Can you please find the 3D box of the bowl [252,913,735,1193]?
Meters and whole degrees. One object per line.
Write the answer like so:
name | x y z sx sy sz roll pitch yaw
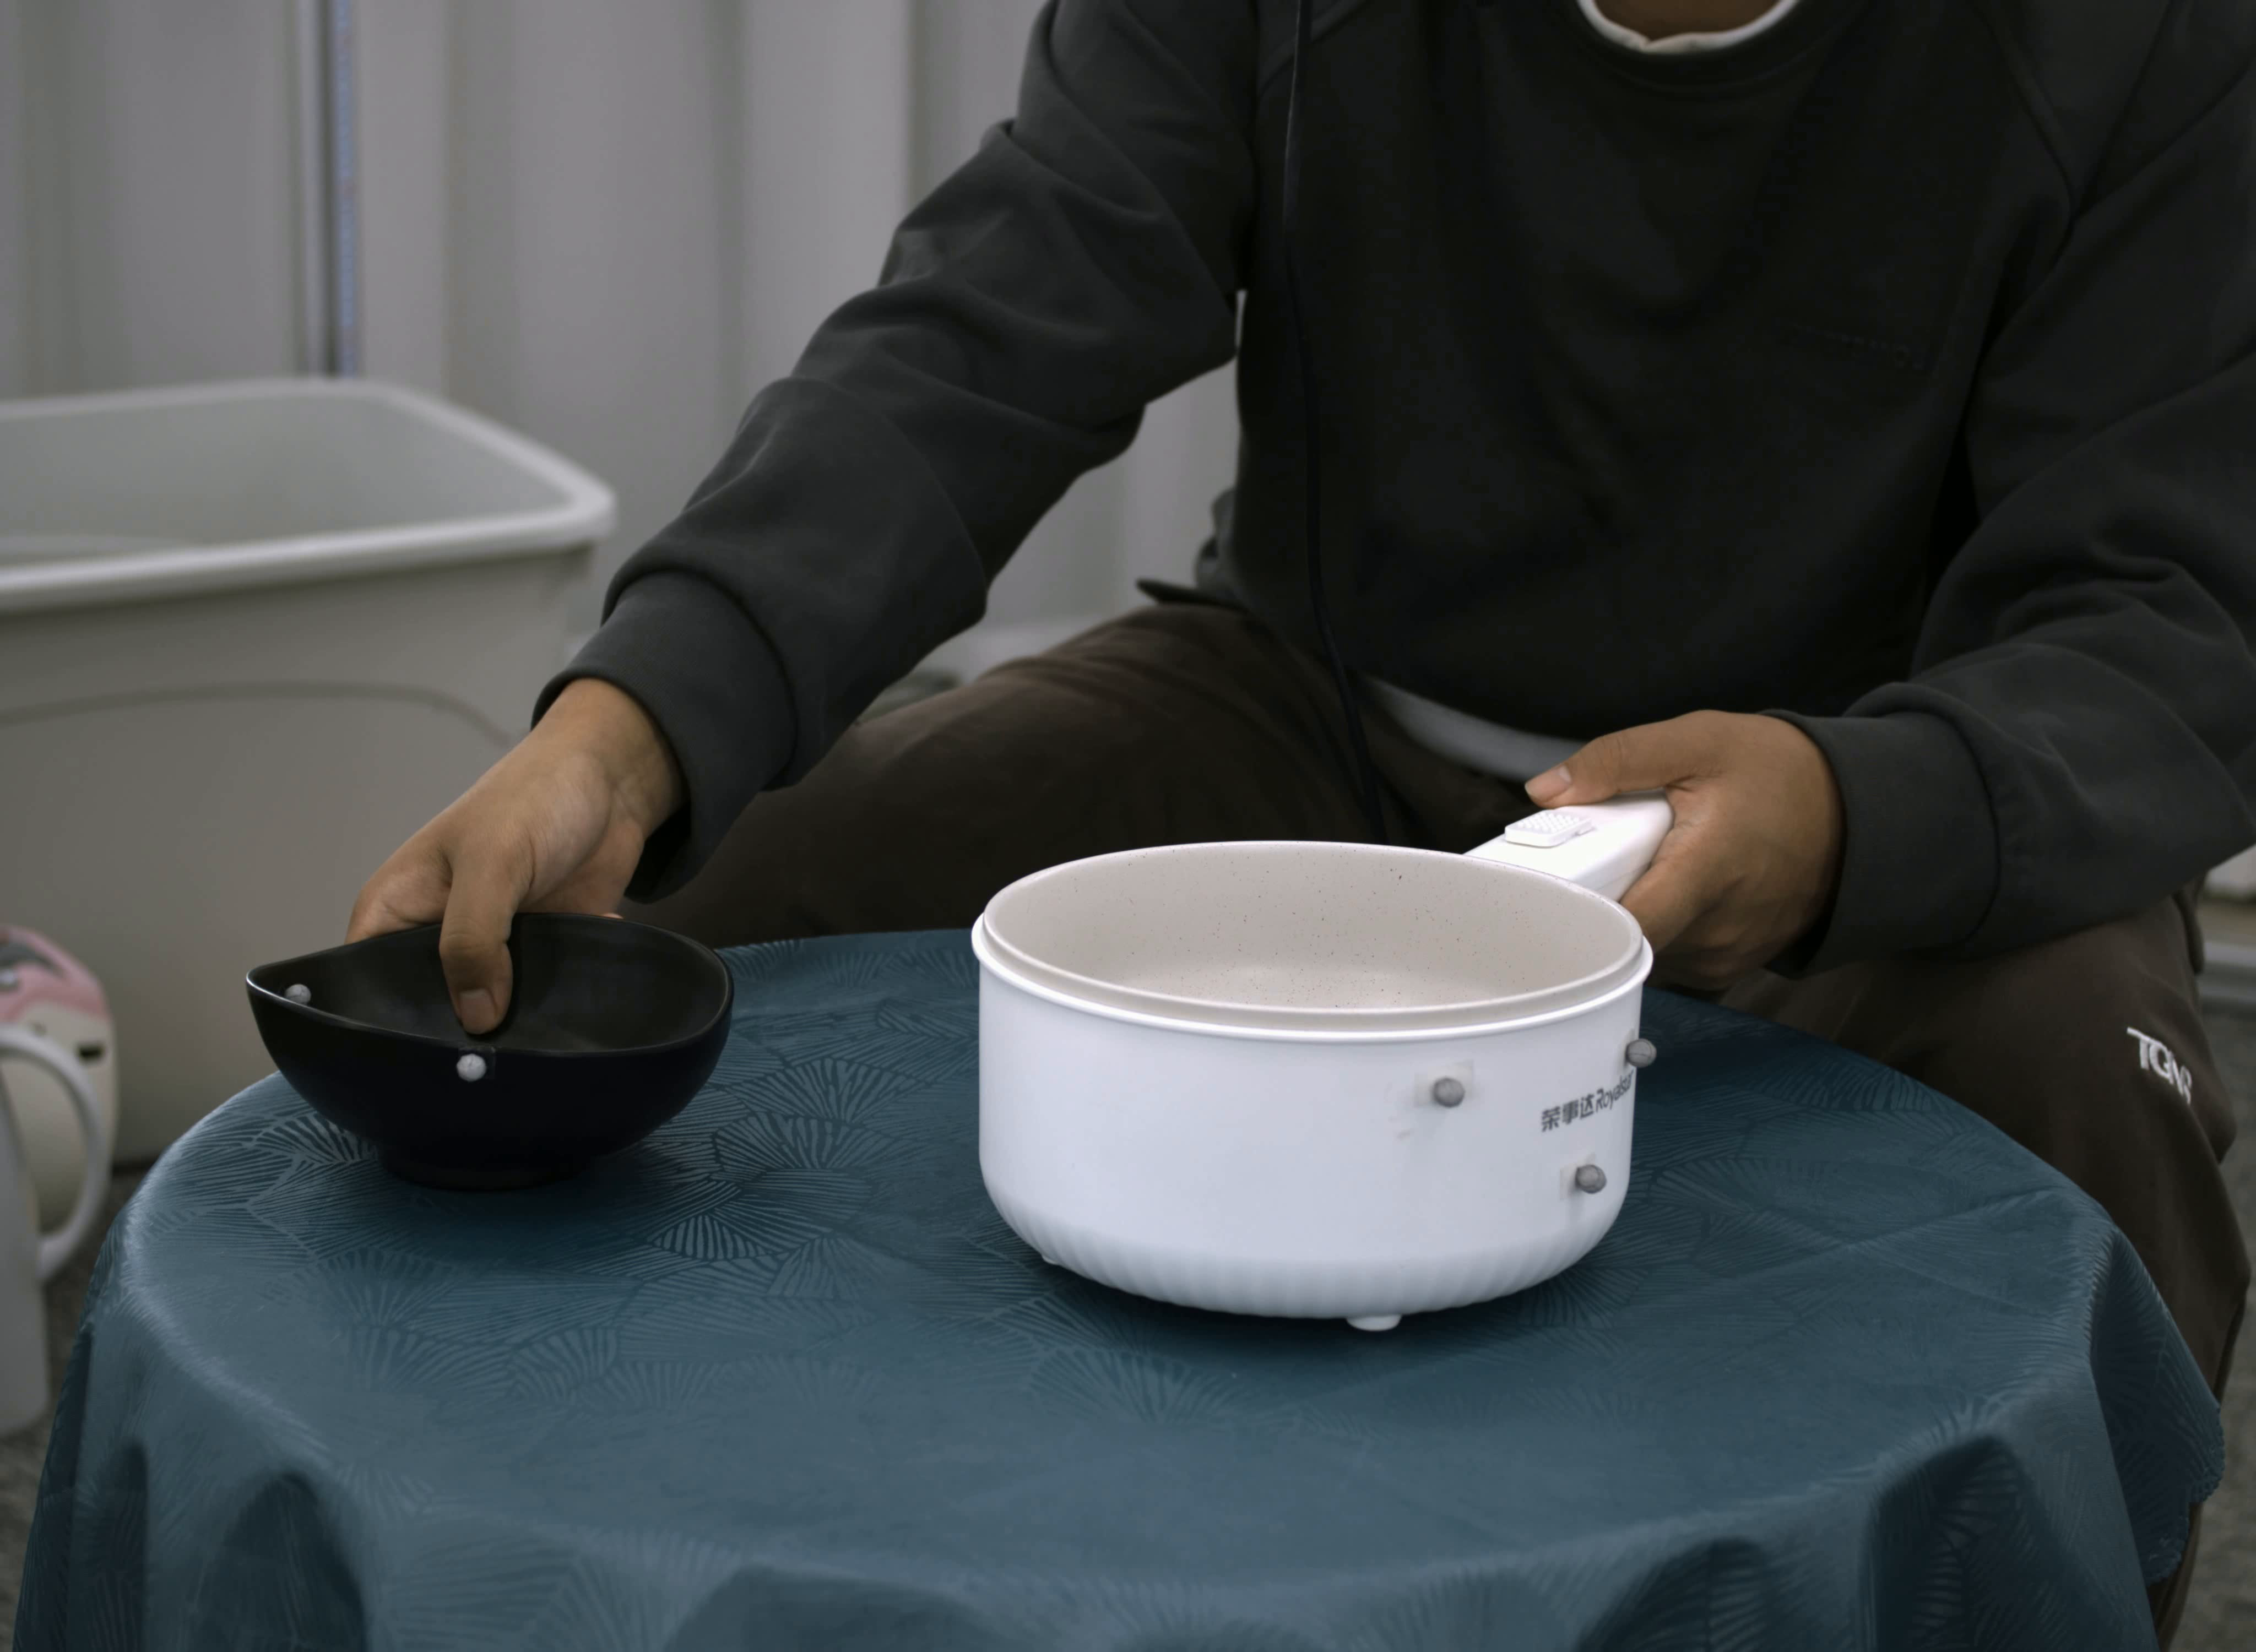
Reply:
bowl | -0.198 0.074 1.634 0.168 0.067 0.138 13 19 40

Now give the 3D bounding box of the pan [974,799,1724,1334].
pan | 0.092 0.067 1.630 0.199 0.103 0.356 7 13 29
